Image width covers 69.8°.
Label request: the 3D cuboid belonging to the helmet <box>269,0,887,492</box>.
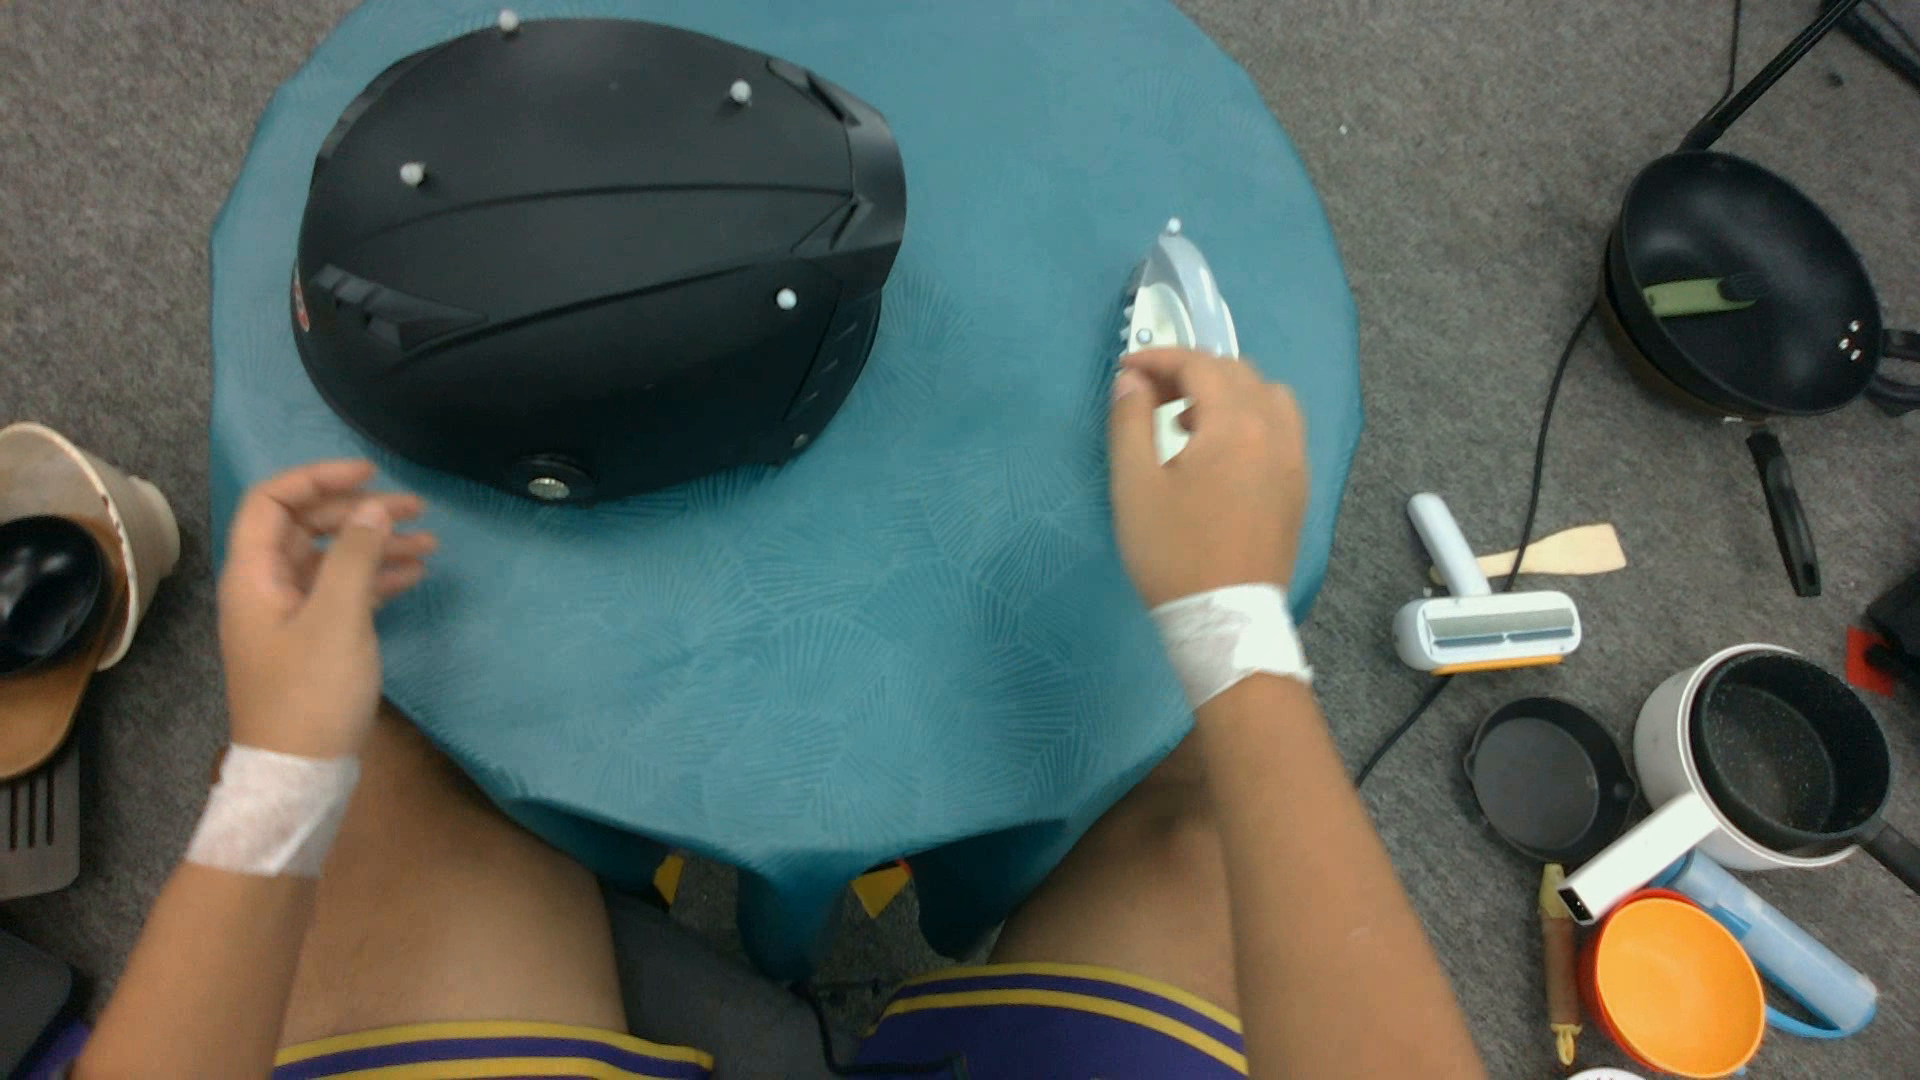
[{"bbox_3d":[-0.174,-0.155,0.627,0.277,0.171,0.247,-2,70,-16],"label":"helmet"}]

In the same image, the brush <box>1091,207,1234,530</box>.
[{"bbox_3d":[0.104,-0.100,0.696,0.061,0.094,0.176,1,69,-12],"label":"brush"}]
